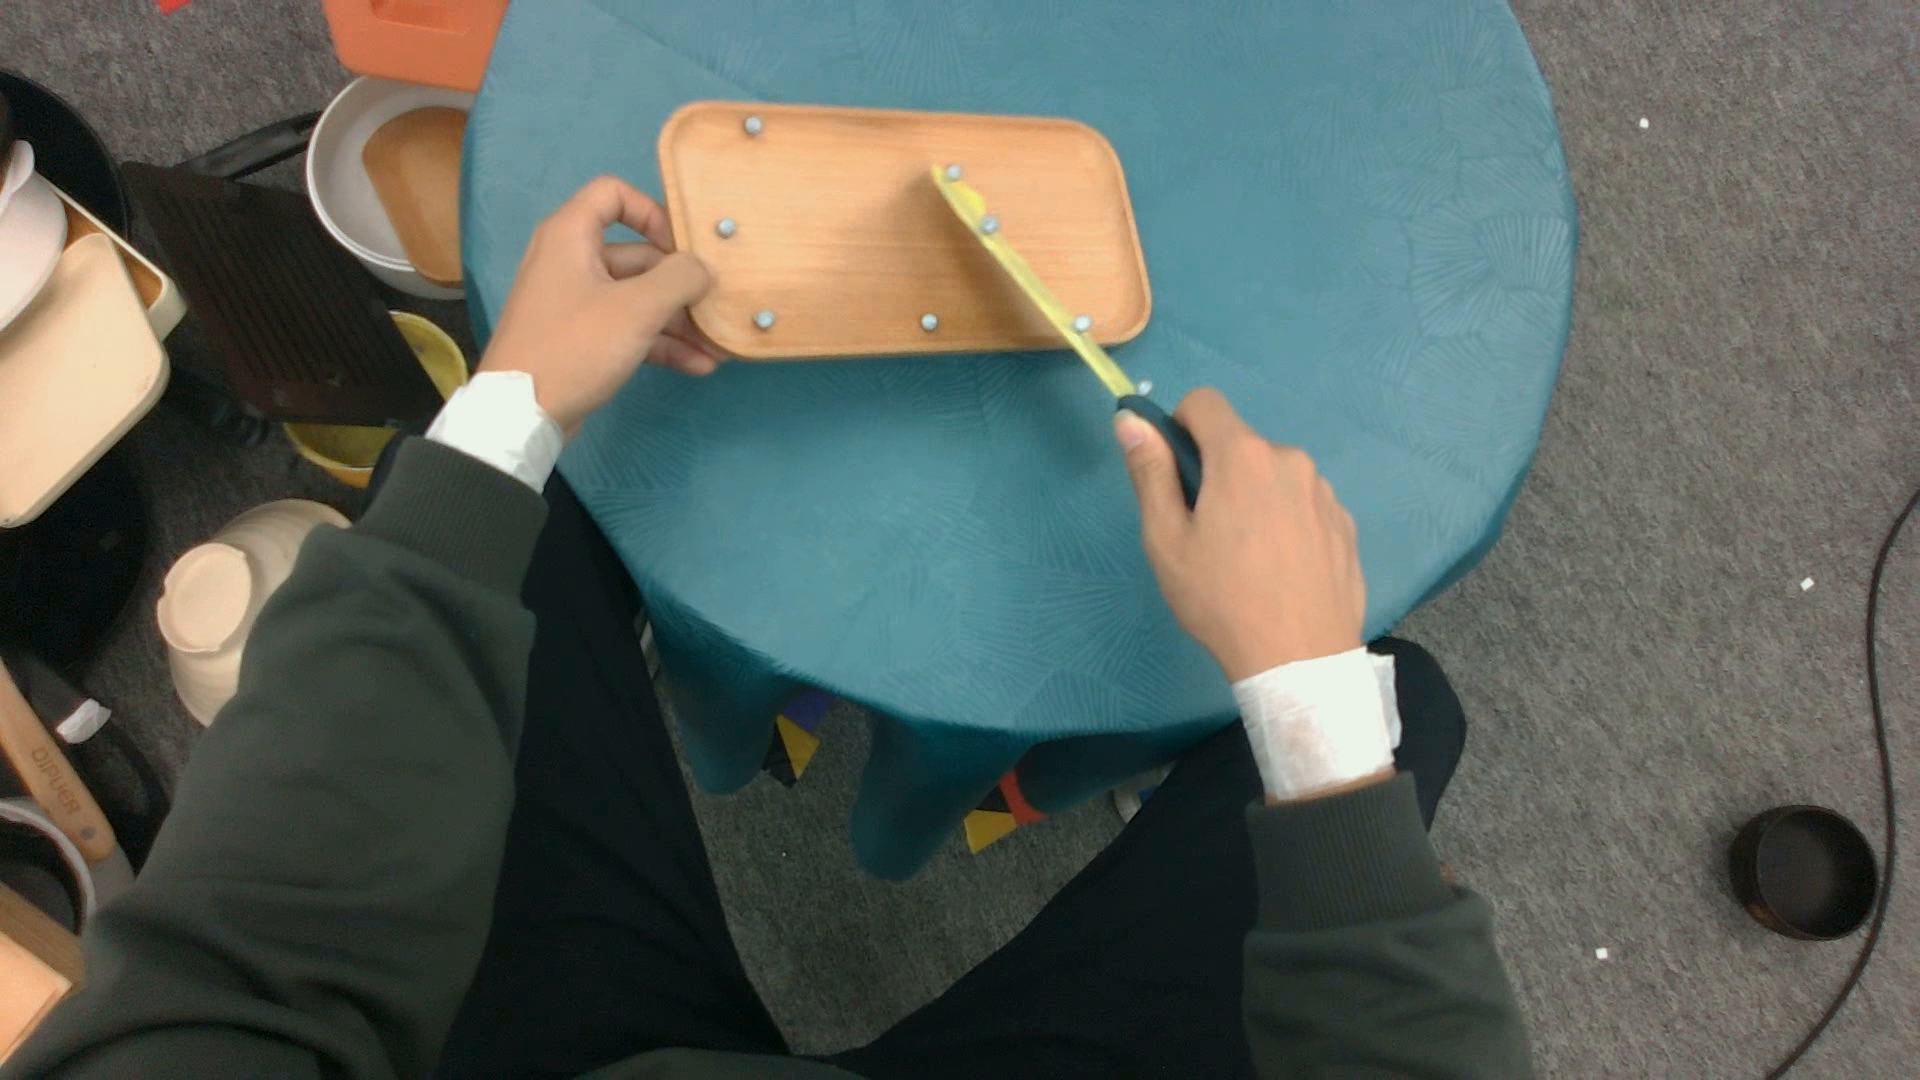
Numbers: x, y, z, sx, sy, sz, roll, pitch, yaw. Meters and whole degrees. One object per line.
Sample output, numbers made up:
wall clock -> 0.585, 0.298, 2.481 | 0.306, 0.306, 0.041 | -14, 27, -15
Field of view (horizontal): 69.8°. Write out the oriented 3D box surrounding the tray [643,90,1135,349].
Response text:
tray -> -0.028, -0.159, 0.683 | 0.251, 0.023, 0.130 | -6, 80, -28

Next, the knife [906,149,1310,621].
knife -> 0.065, -0.079, 0.647 | 0.027, 0.081, 0.289 | -42, 81, 17
